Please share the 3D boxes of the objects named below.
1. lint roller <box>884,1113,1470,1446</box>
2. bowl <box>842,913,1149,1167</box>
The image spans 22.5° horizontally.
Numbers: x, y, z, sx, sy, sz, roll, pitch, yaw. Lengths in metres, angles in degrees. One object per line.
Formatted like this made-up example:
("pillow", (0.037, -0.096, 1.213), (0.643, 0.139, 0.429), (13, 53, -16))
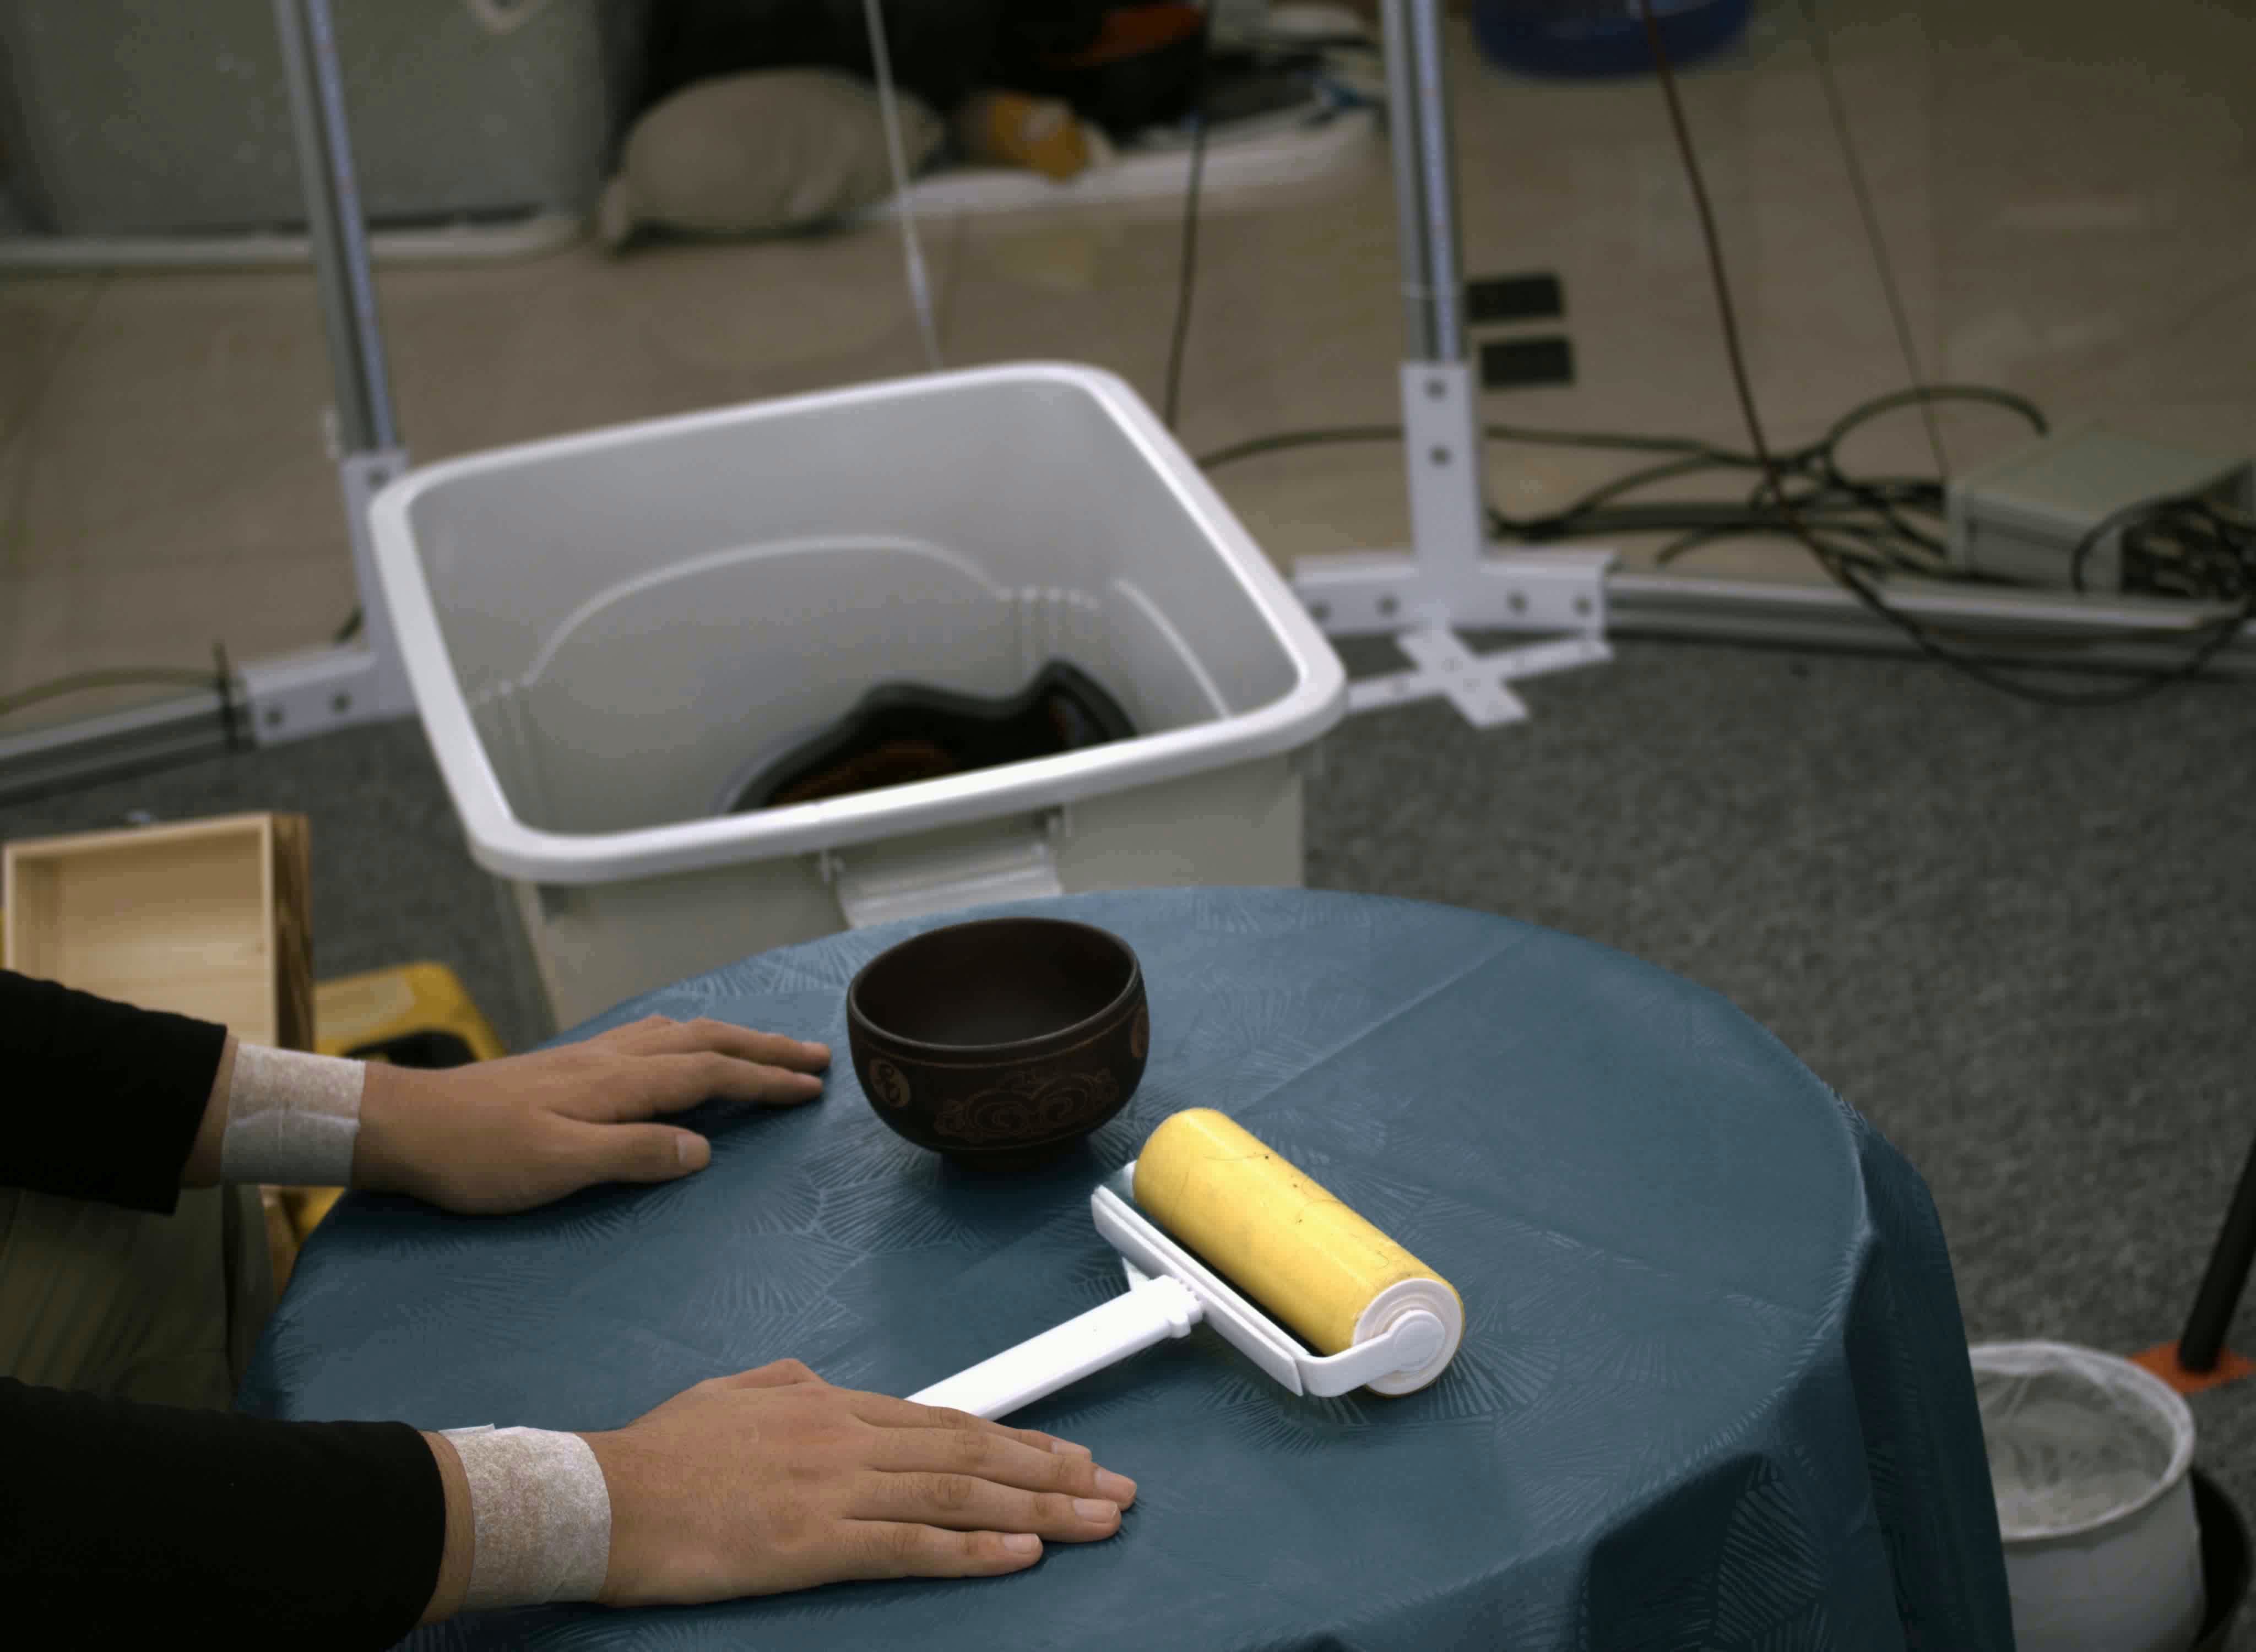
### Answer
("lint roller", (-0.001, 0.171, 2.017), (0.191, 0.052, 0.172), (-14, 25, -26))
("bowl", (-0.049, 0.088, 2.180), (0.118, 0.071, 0.116), (-4, 24, 2))
